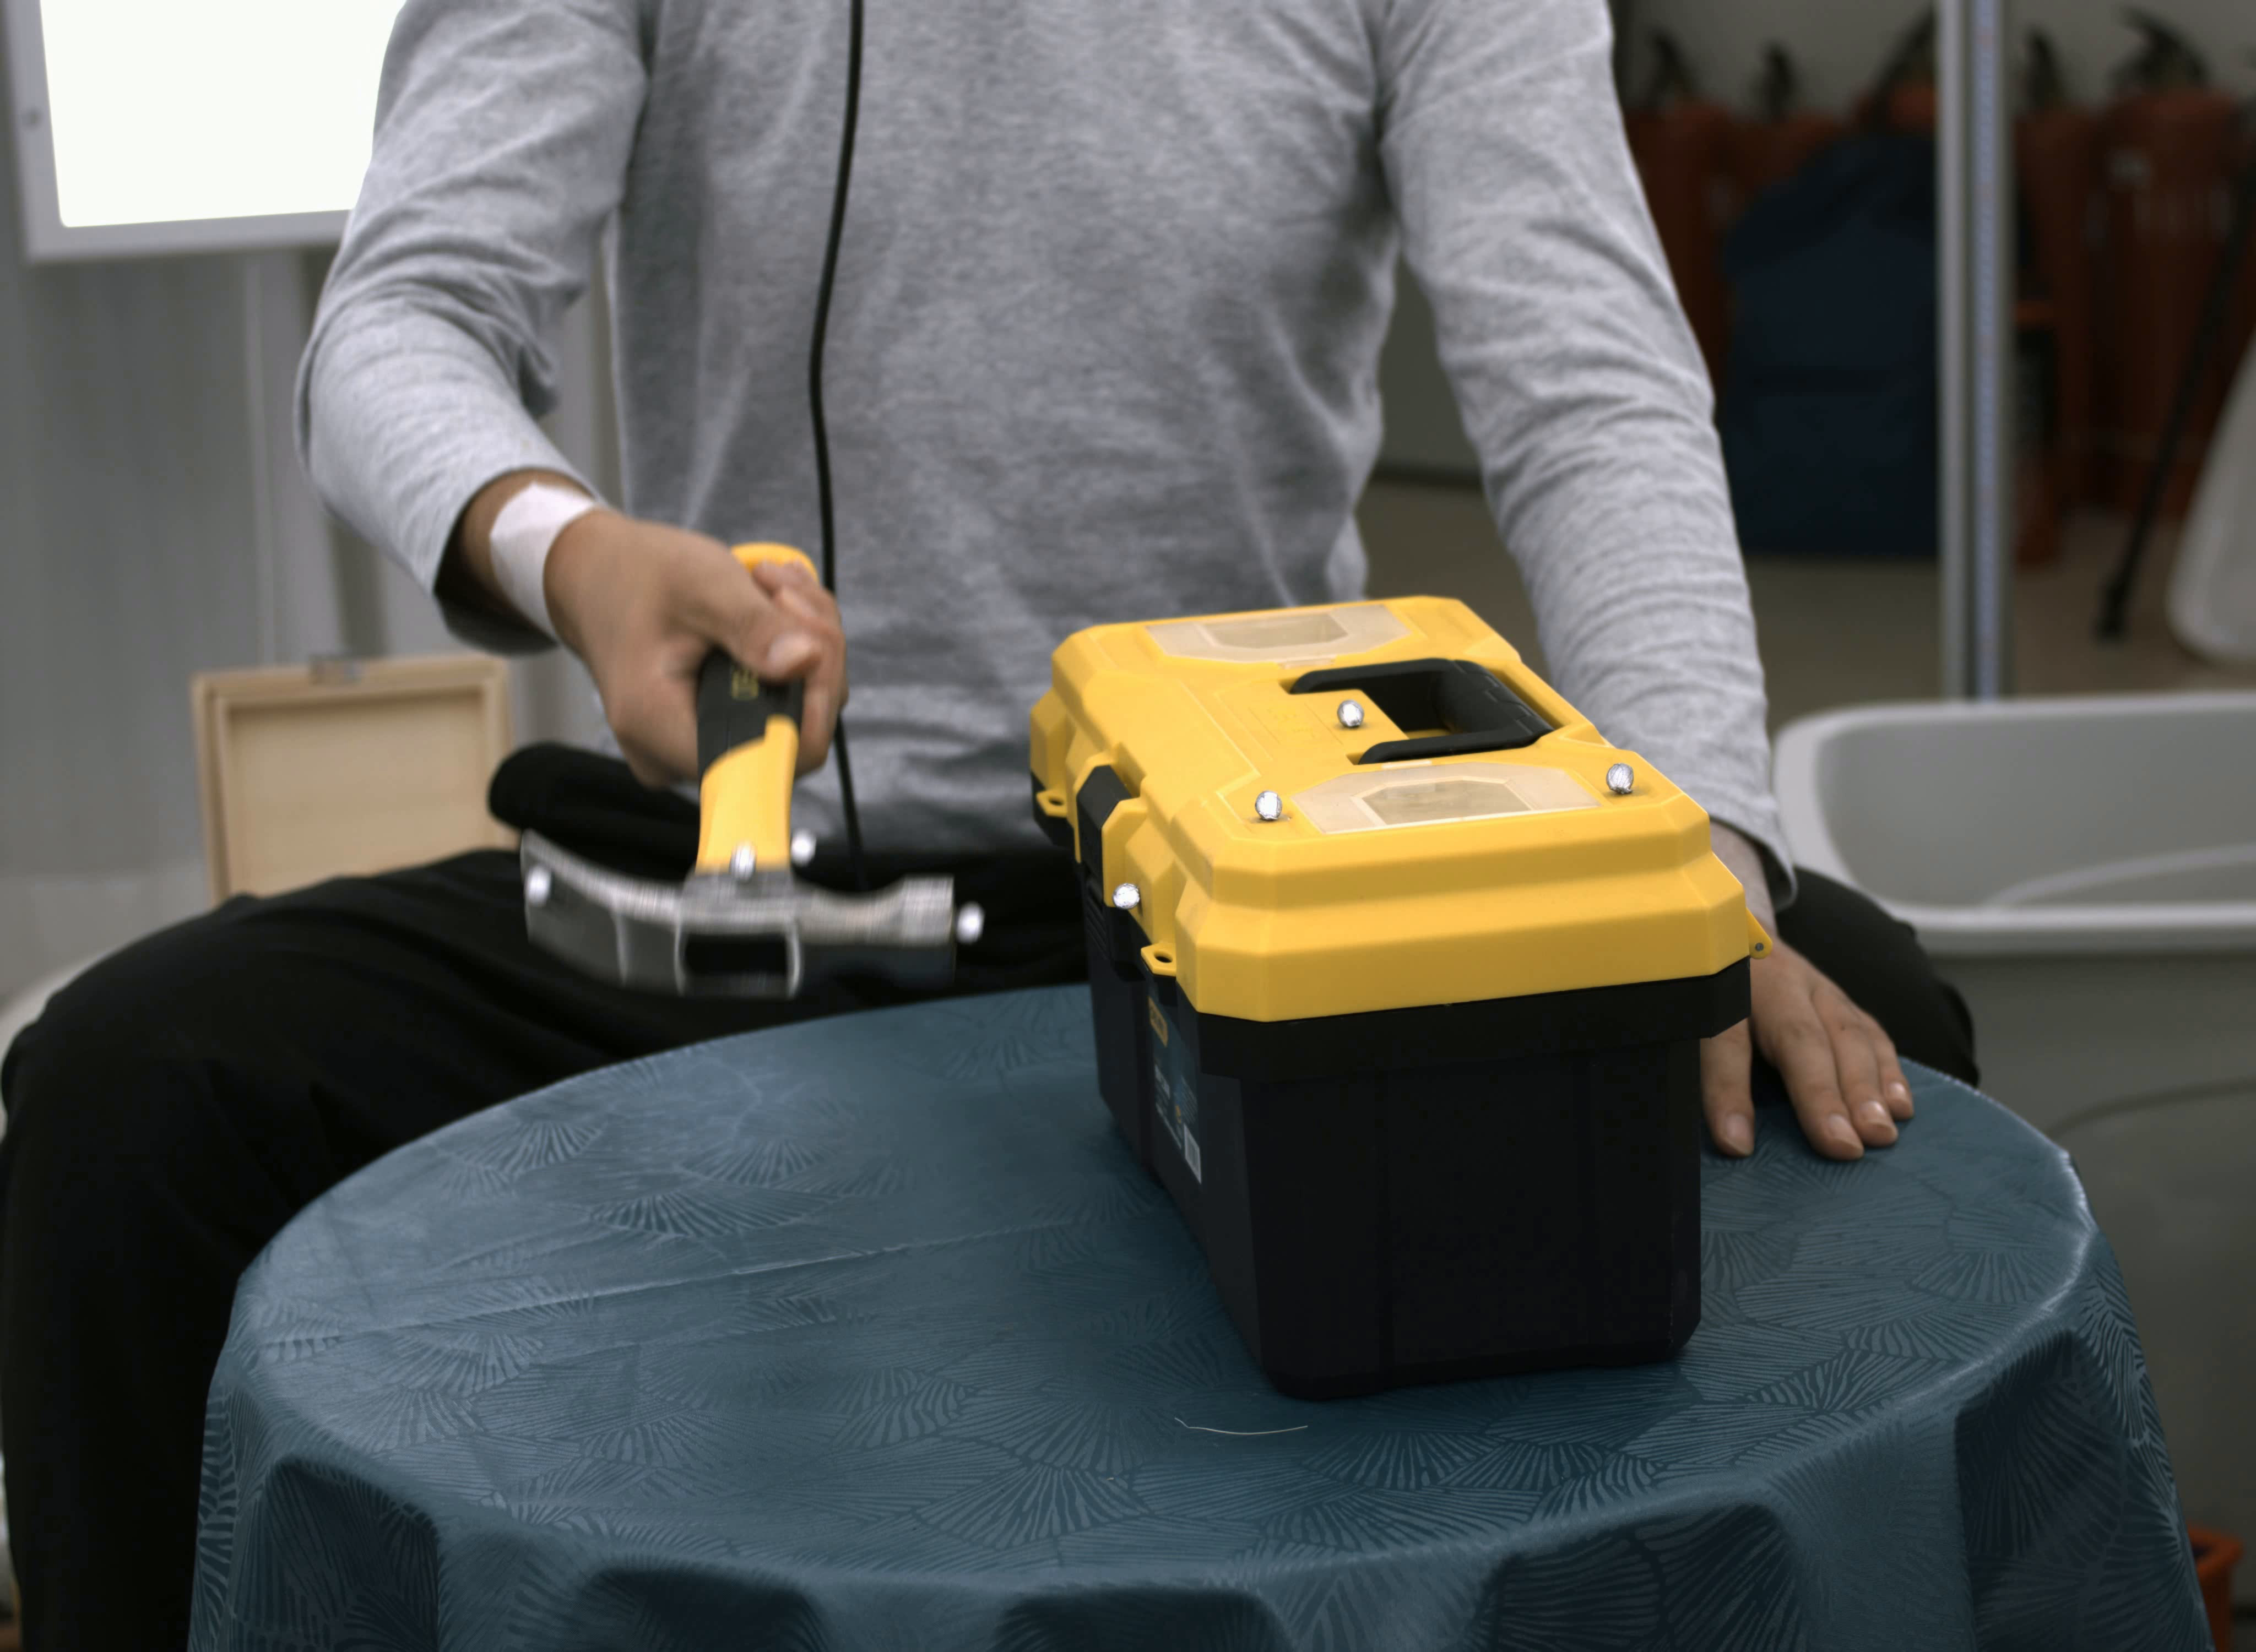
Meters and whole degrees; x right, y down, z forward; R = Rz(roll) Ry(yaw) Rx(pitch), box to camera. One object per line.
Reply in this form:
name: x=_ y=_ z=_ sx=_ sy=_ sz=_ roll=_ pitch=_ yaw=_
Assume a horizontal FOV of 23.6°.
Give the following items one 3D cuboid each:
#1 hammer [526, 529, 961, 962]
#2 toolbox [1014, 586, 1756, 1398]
hammer: x=-0.121 y=-0.033 z=1.736 sx=0.129 sy=0.032 sz=0.339 roll=-3 pitch=21 yaw=-1
toolbox: x=0.075 y=0.044 z=1.701 sx=0.178 sy=0.175 sz=0.353 roll=-6 pitch=14 yaw=-8
